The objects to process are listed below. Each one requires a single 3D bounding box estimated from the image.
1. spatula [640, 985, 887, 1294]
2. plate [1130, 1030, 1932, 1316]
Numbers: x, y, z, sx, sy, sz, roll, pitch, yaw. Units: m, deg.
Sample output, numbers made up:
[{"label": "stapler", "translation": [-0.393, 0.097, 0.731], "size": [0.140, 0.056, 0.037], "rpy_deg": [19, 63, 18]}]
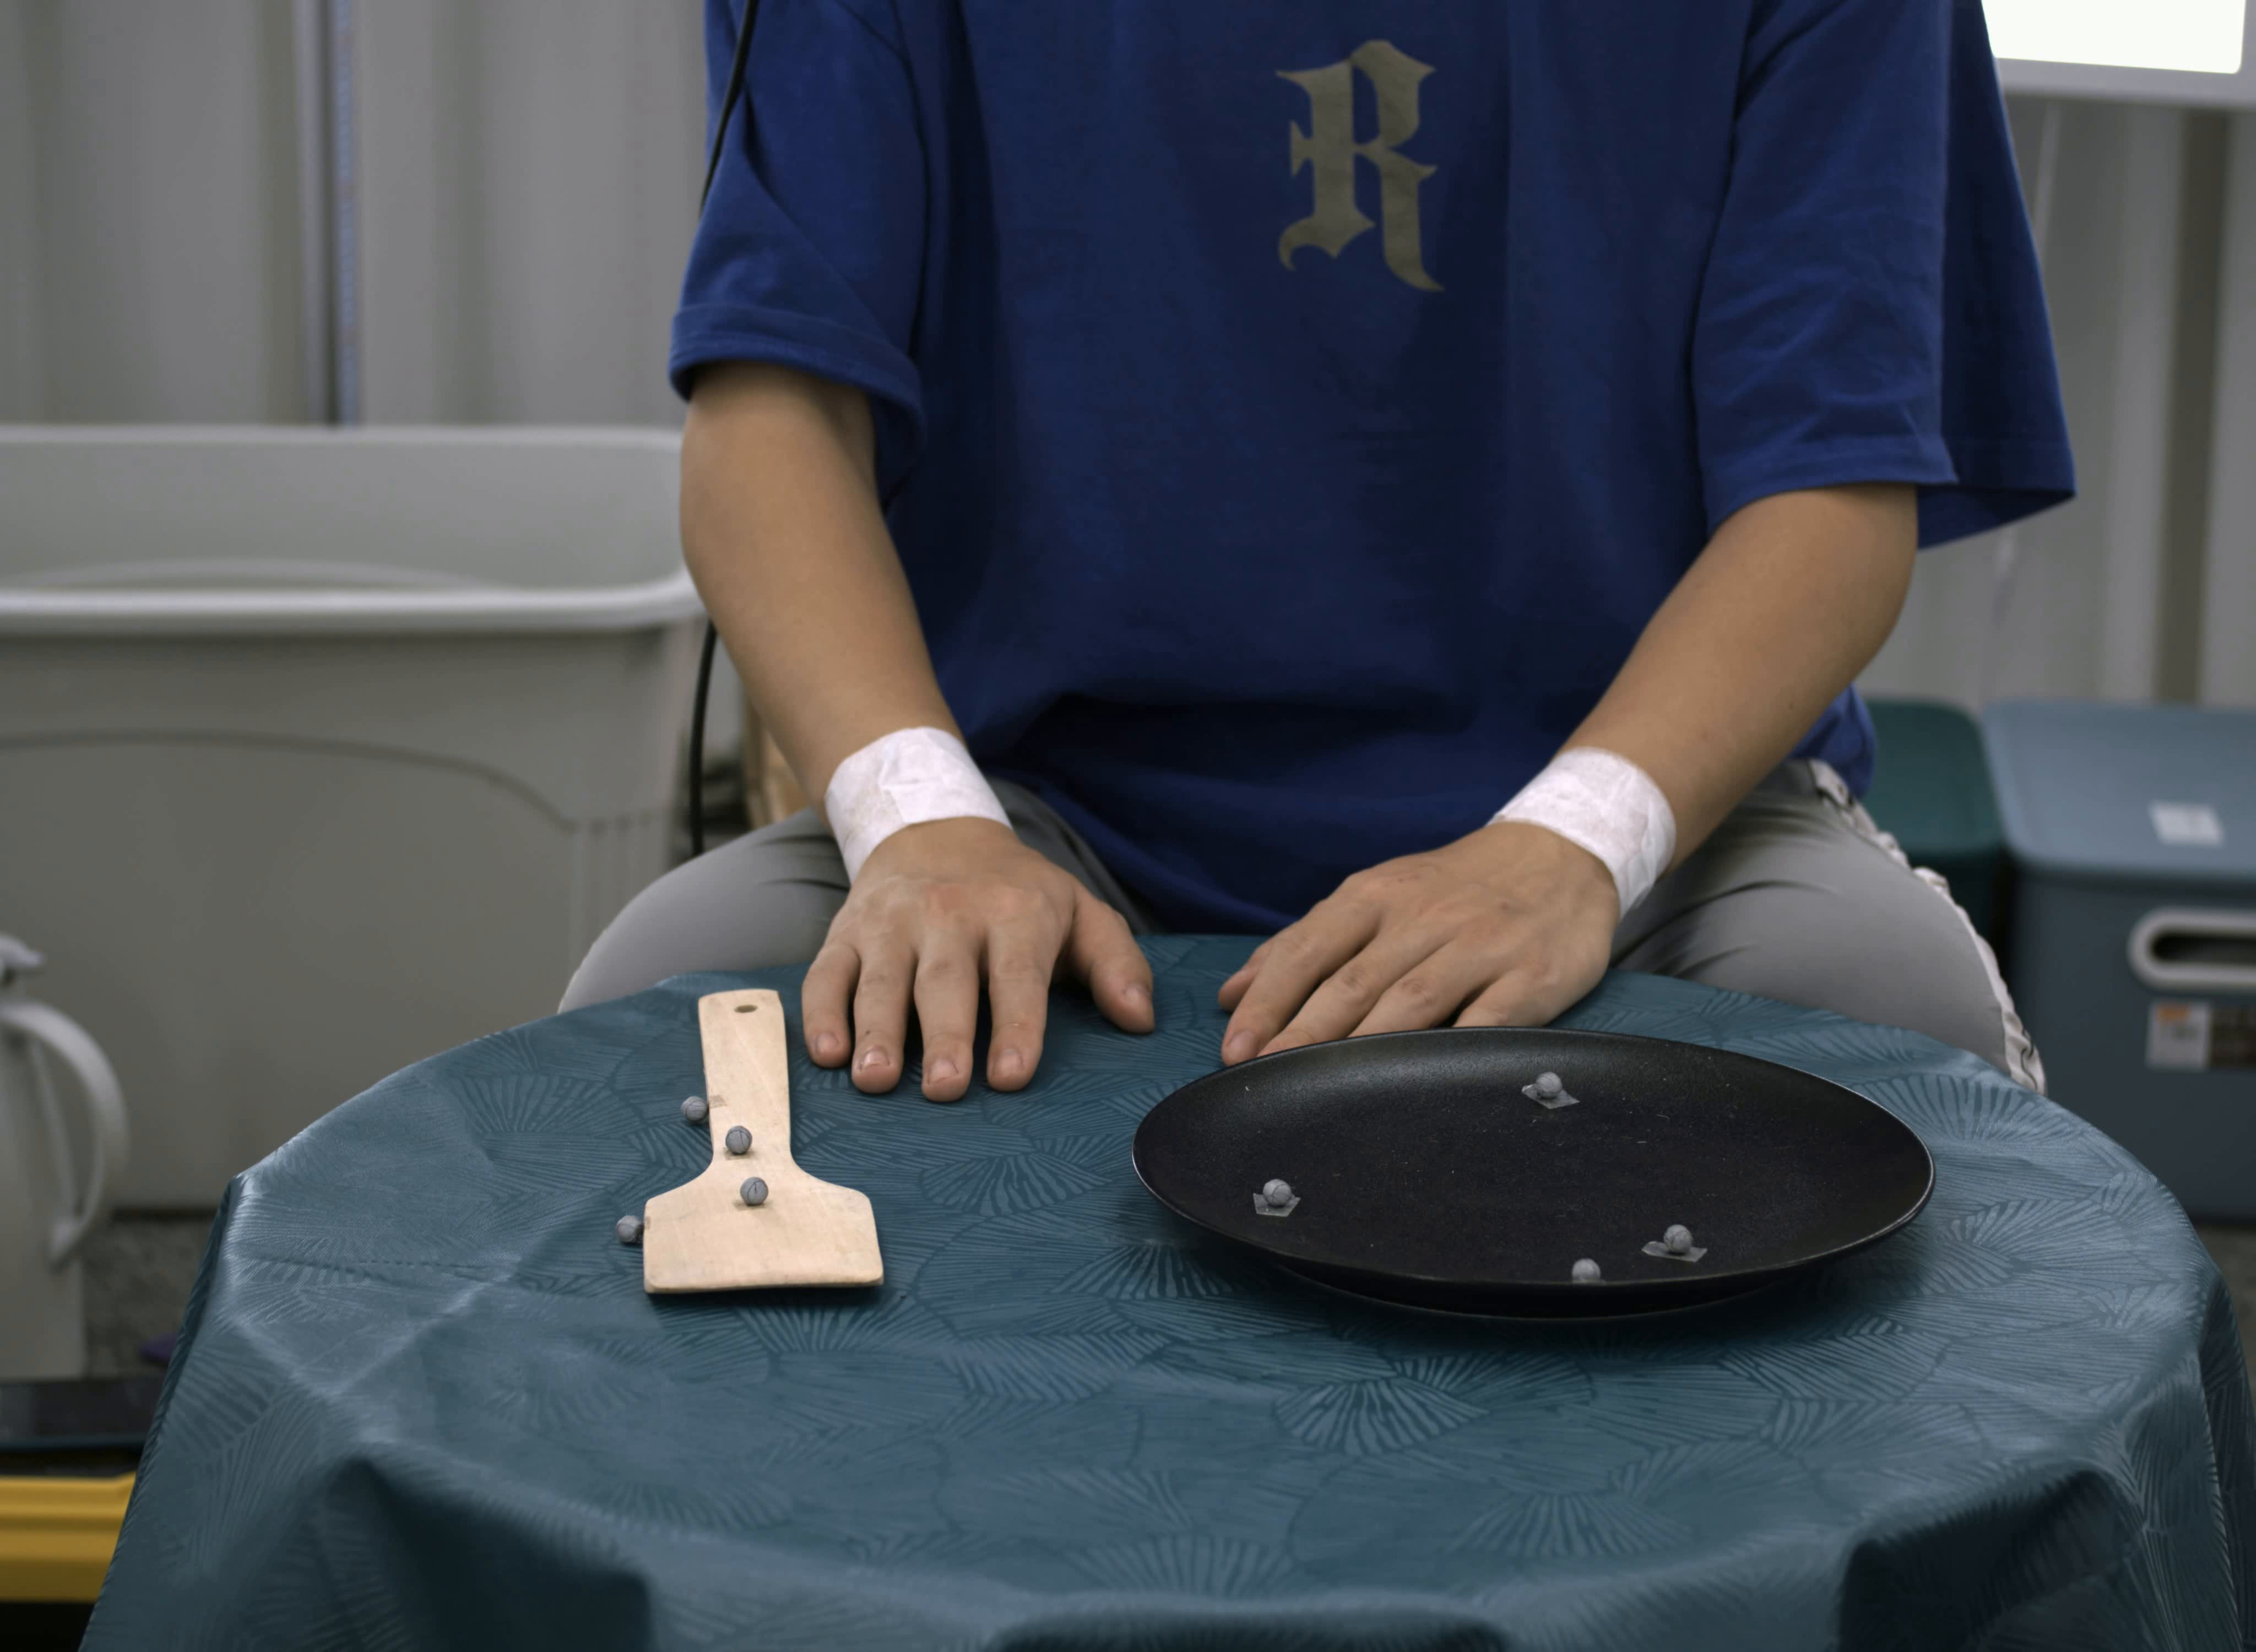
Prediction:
[{"label": "spatula", "translation": [-0.118, 0.096, 1.659], "size": [0.072, 0.011, 0.291], "rpy_deg": [-2, 16, -5]}, {"label": "plate", "translation": [0.122, 0.107, 1.601], "size": [0.243, 0.023, 0.243], "rpy_deg": [1, 15, 0]}]
